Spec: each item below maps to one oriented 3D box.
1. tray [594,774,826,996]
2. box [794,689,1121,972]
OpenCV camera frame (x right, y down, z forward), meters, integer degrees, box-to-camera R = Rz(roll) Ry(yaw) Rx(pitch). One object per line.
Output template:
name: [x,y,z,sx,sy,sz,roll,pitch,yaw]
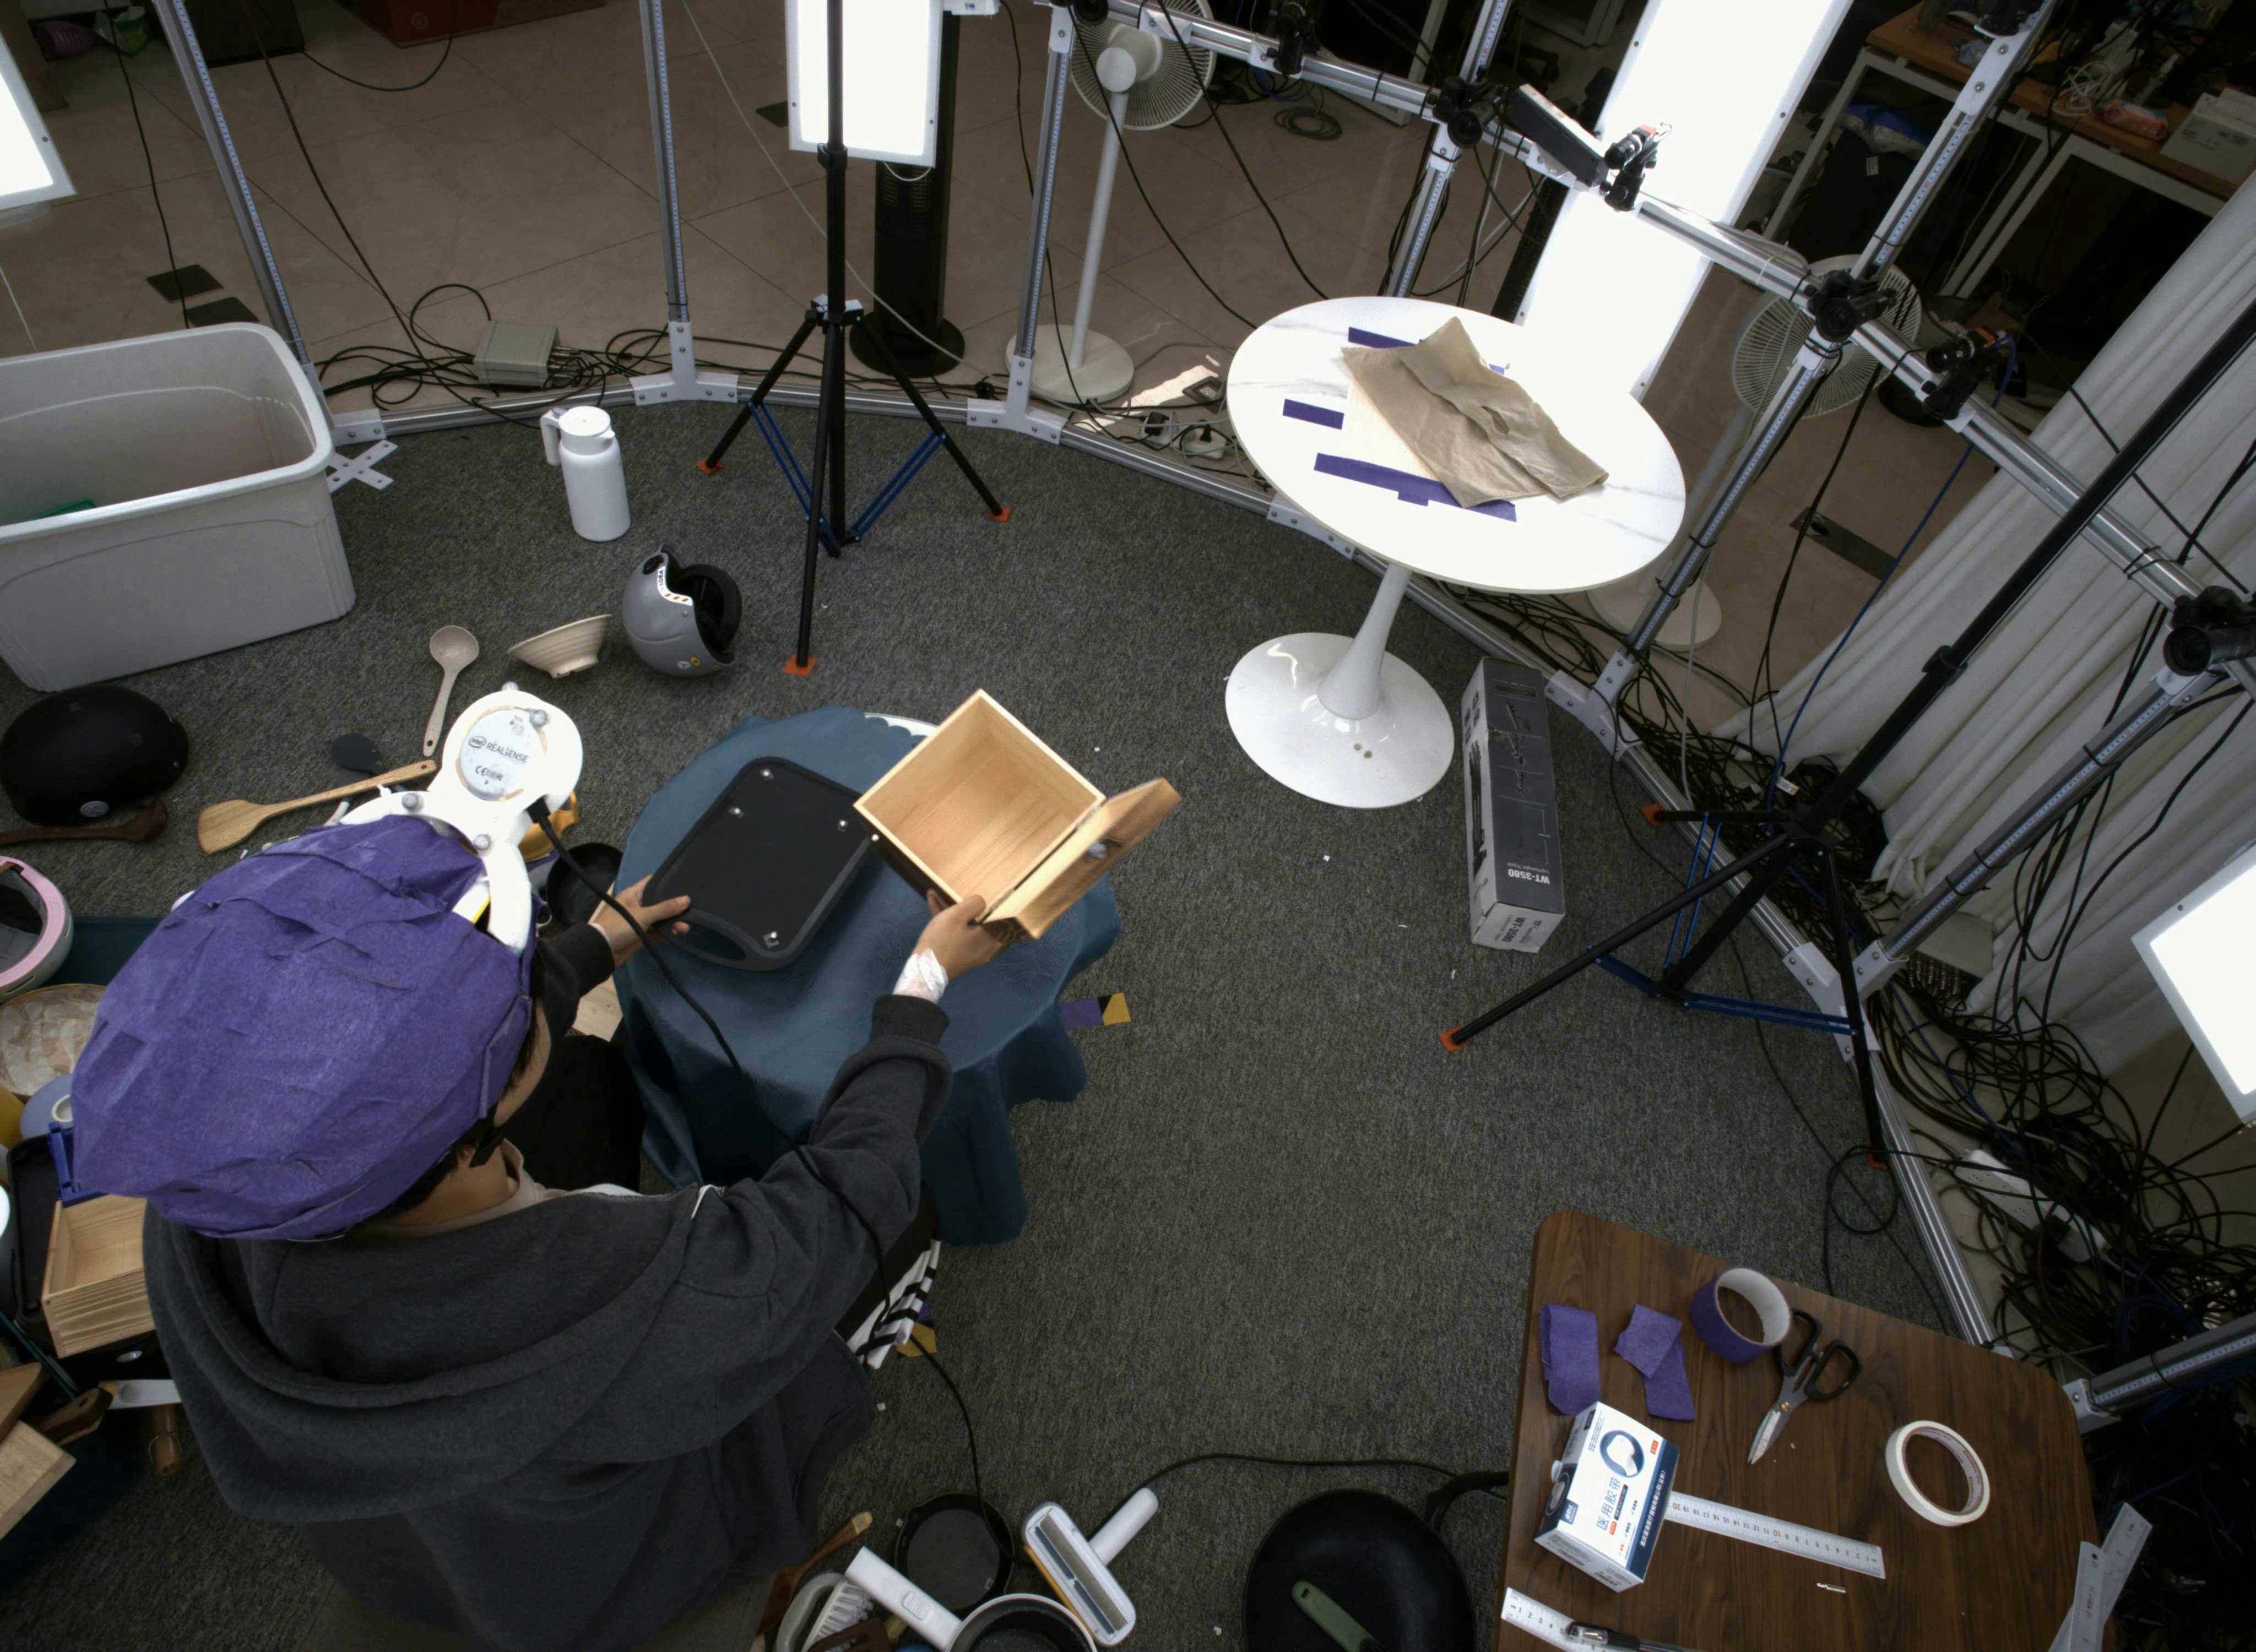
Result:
tray: [-0.504,0.066,1.576,0.210,0.010,0.322,23,47,-2]
box: [-0.185,0.002,1.408,0.317,0.381,0.209,37,73,10]
